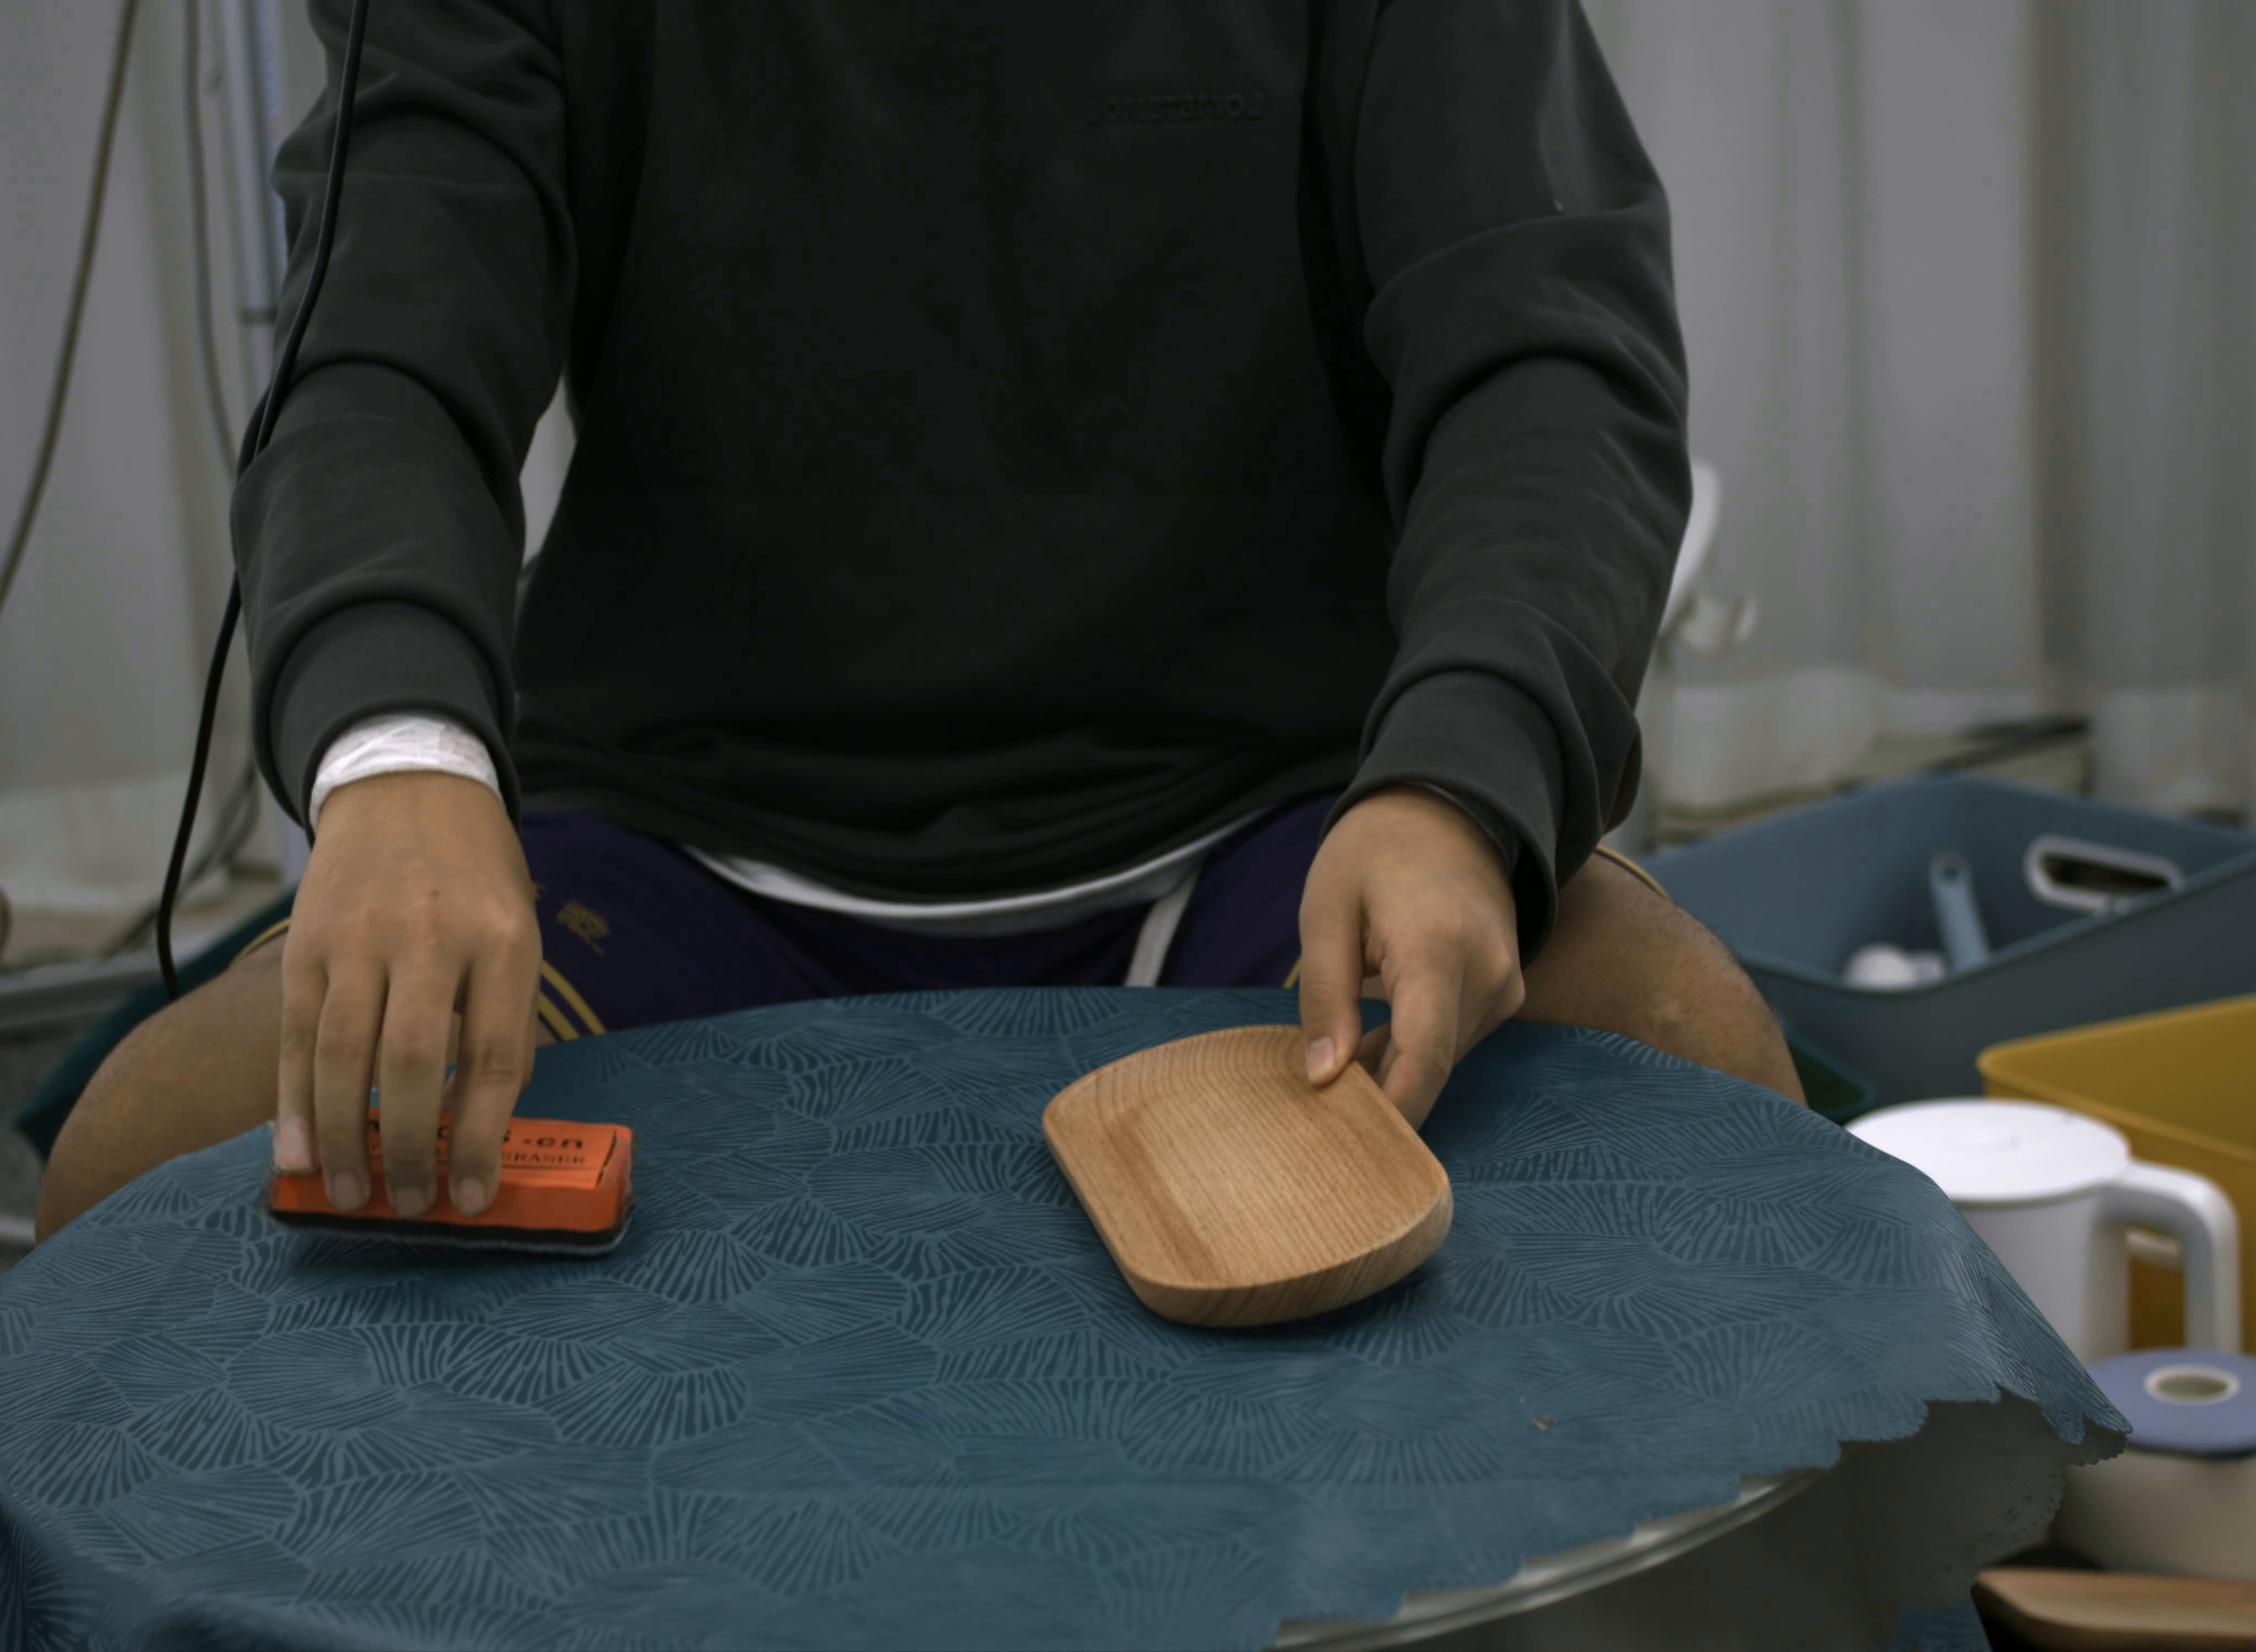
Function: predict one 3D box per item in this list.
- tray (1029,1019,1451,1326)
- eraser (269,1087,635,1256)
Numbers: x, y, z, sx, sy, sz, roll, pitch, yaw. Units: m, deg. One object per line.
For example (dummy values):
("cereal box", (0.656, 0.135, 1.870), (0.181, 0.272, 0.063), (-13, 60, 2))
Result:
("tray", (0.033, 0.105, 1.684), (0.101, 0.020, 0.233), (-15, 16, -8))
("eraser", (-0.209, 0.107, 1.698), (0.108, 0.022, 0.059), (4, 26, 3))
